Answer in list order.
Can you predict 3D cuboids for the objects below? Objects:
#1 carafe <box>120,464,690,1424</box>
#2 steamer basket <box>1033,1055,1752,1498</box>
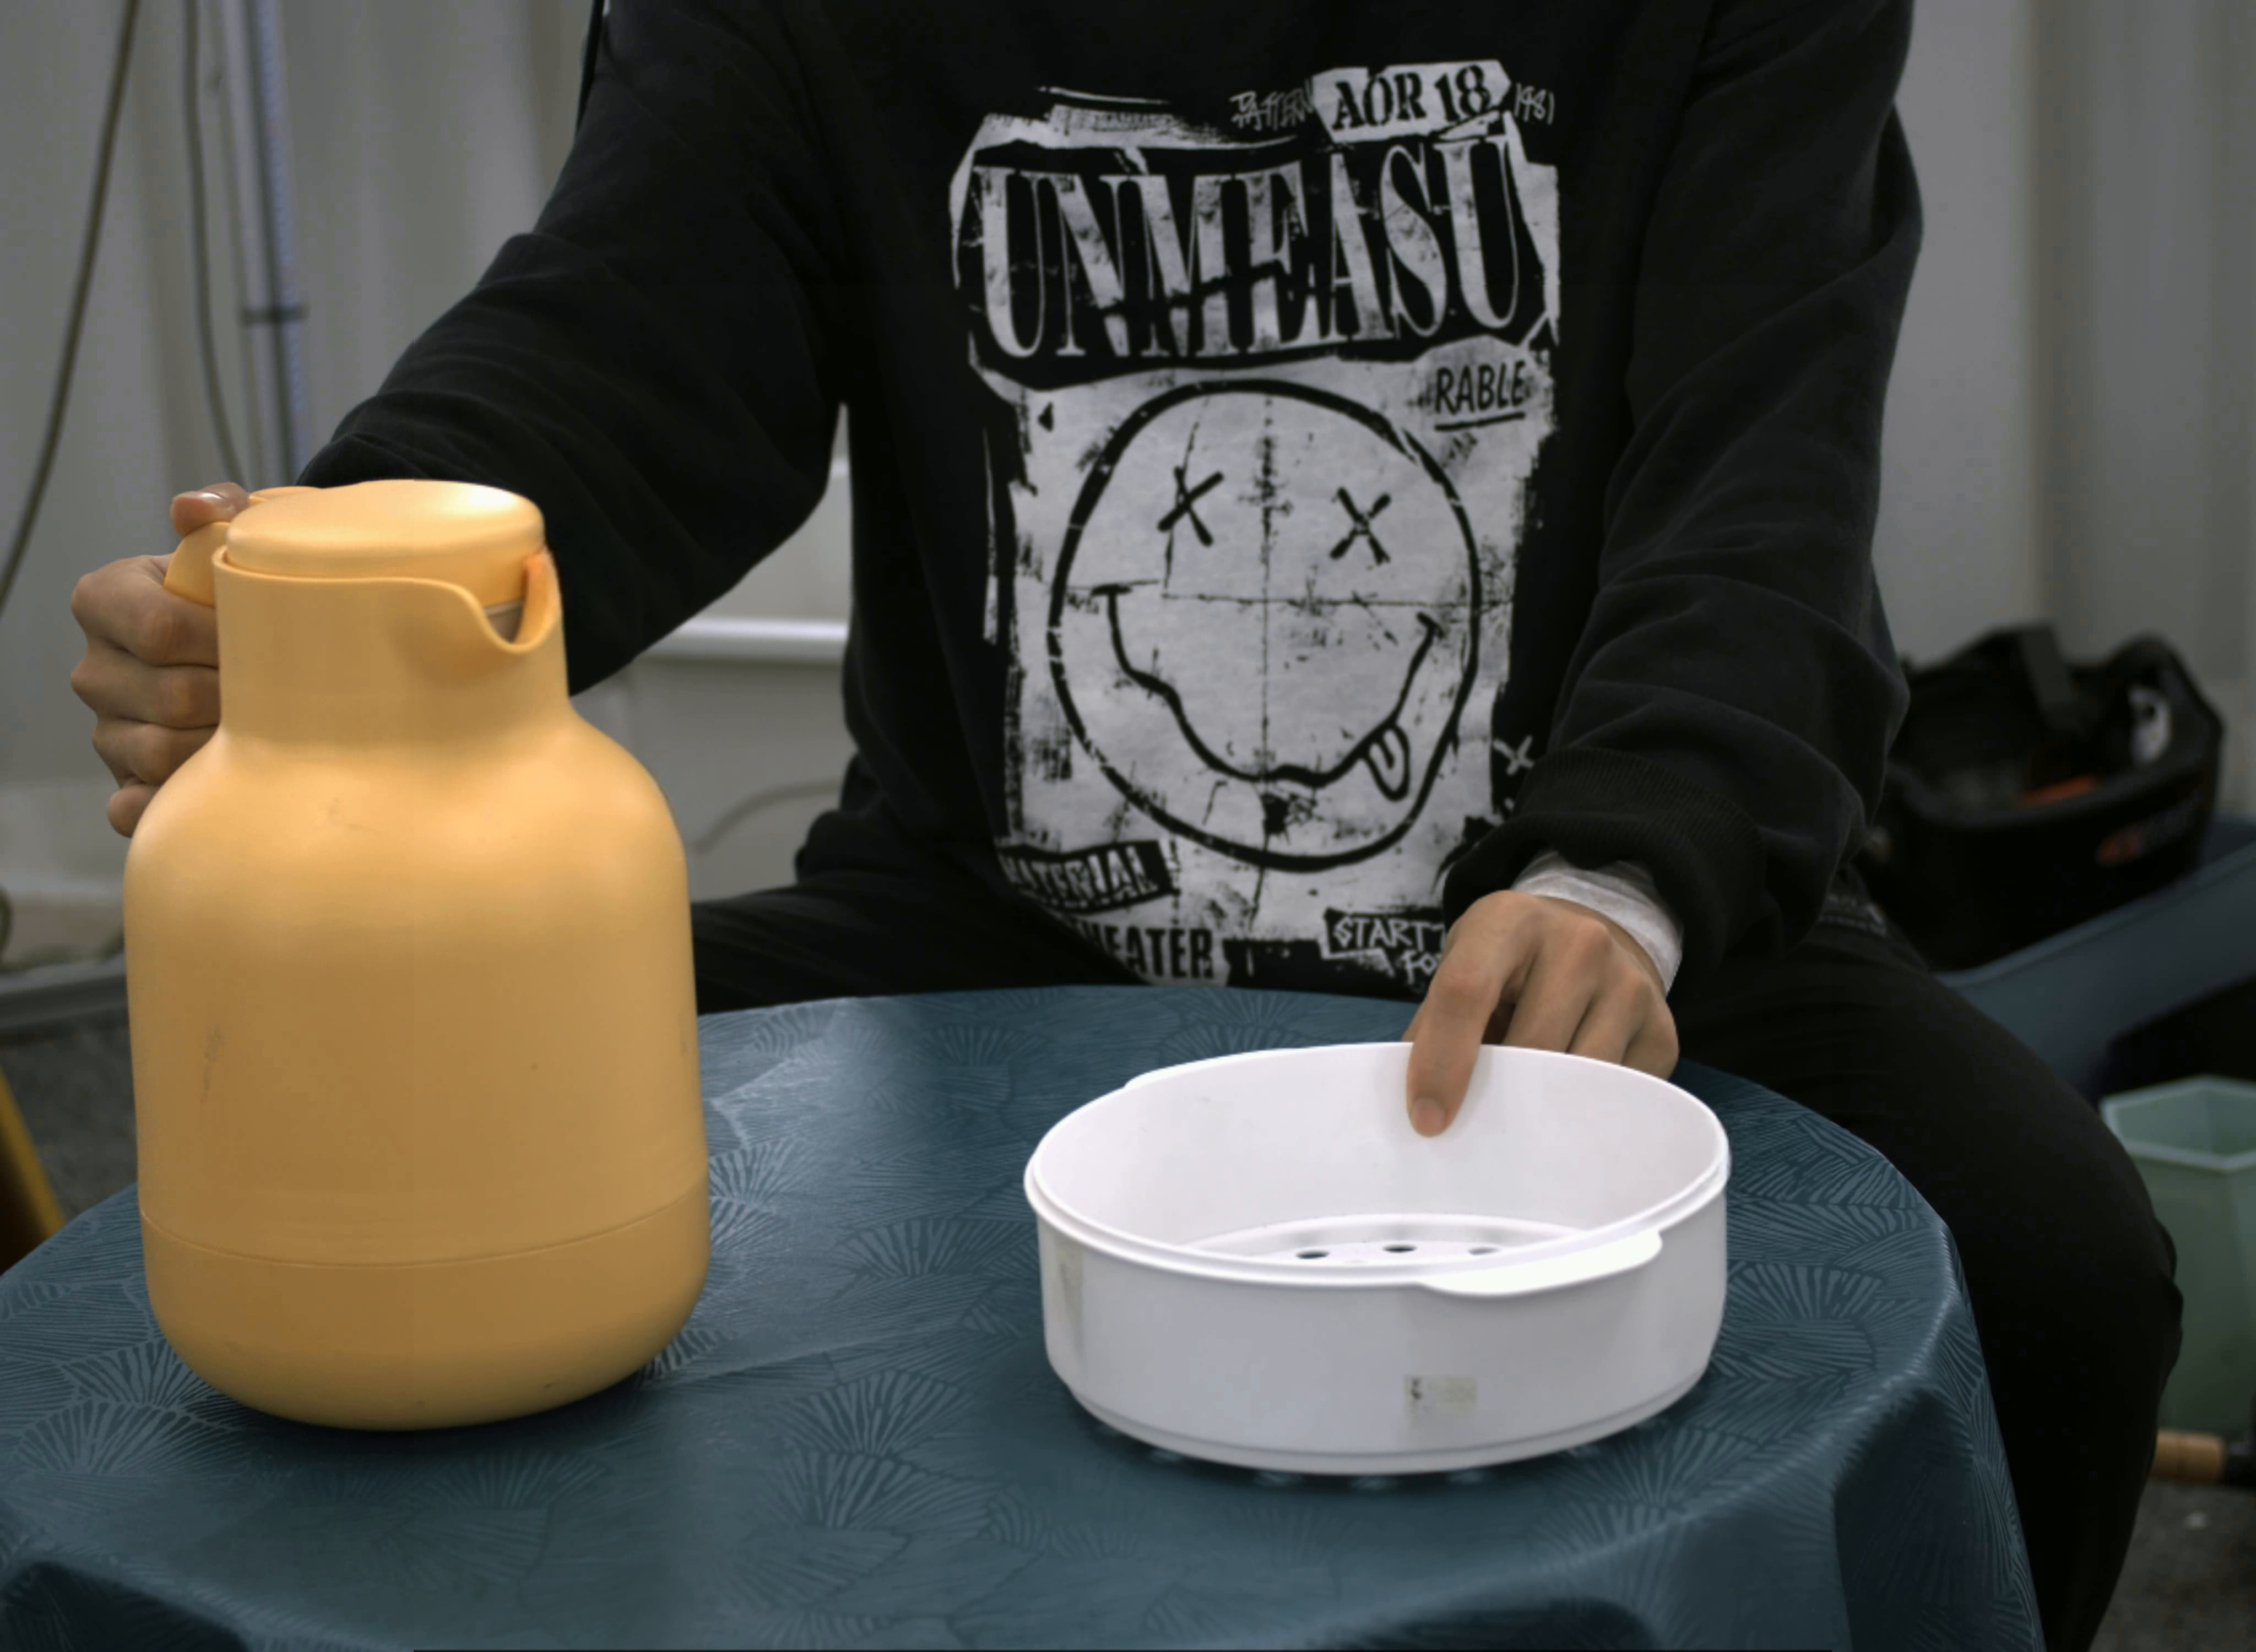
[{"bbox_3d":[-0.216,0.025,1.577,0.162,0.259,0.204,-7,16,-34],"label":"carafe"},{"bbox_3d":[0.075,0.126,1.537,0.201,0.069,0.232,-10,17,-23],"label":"steamer basket"}]
